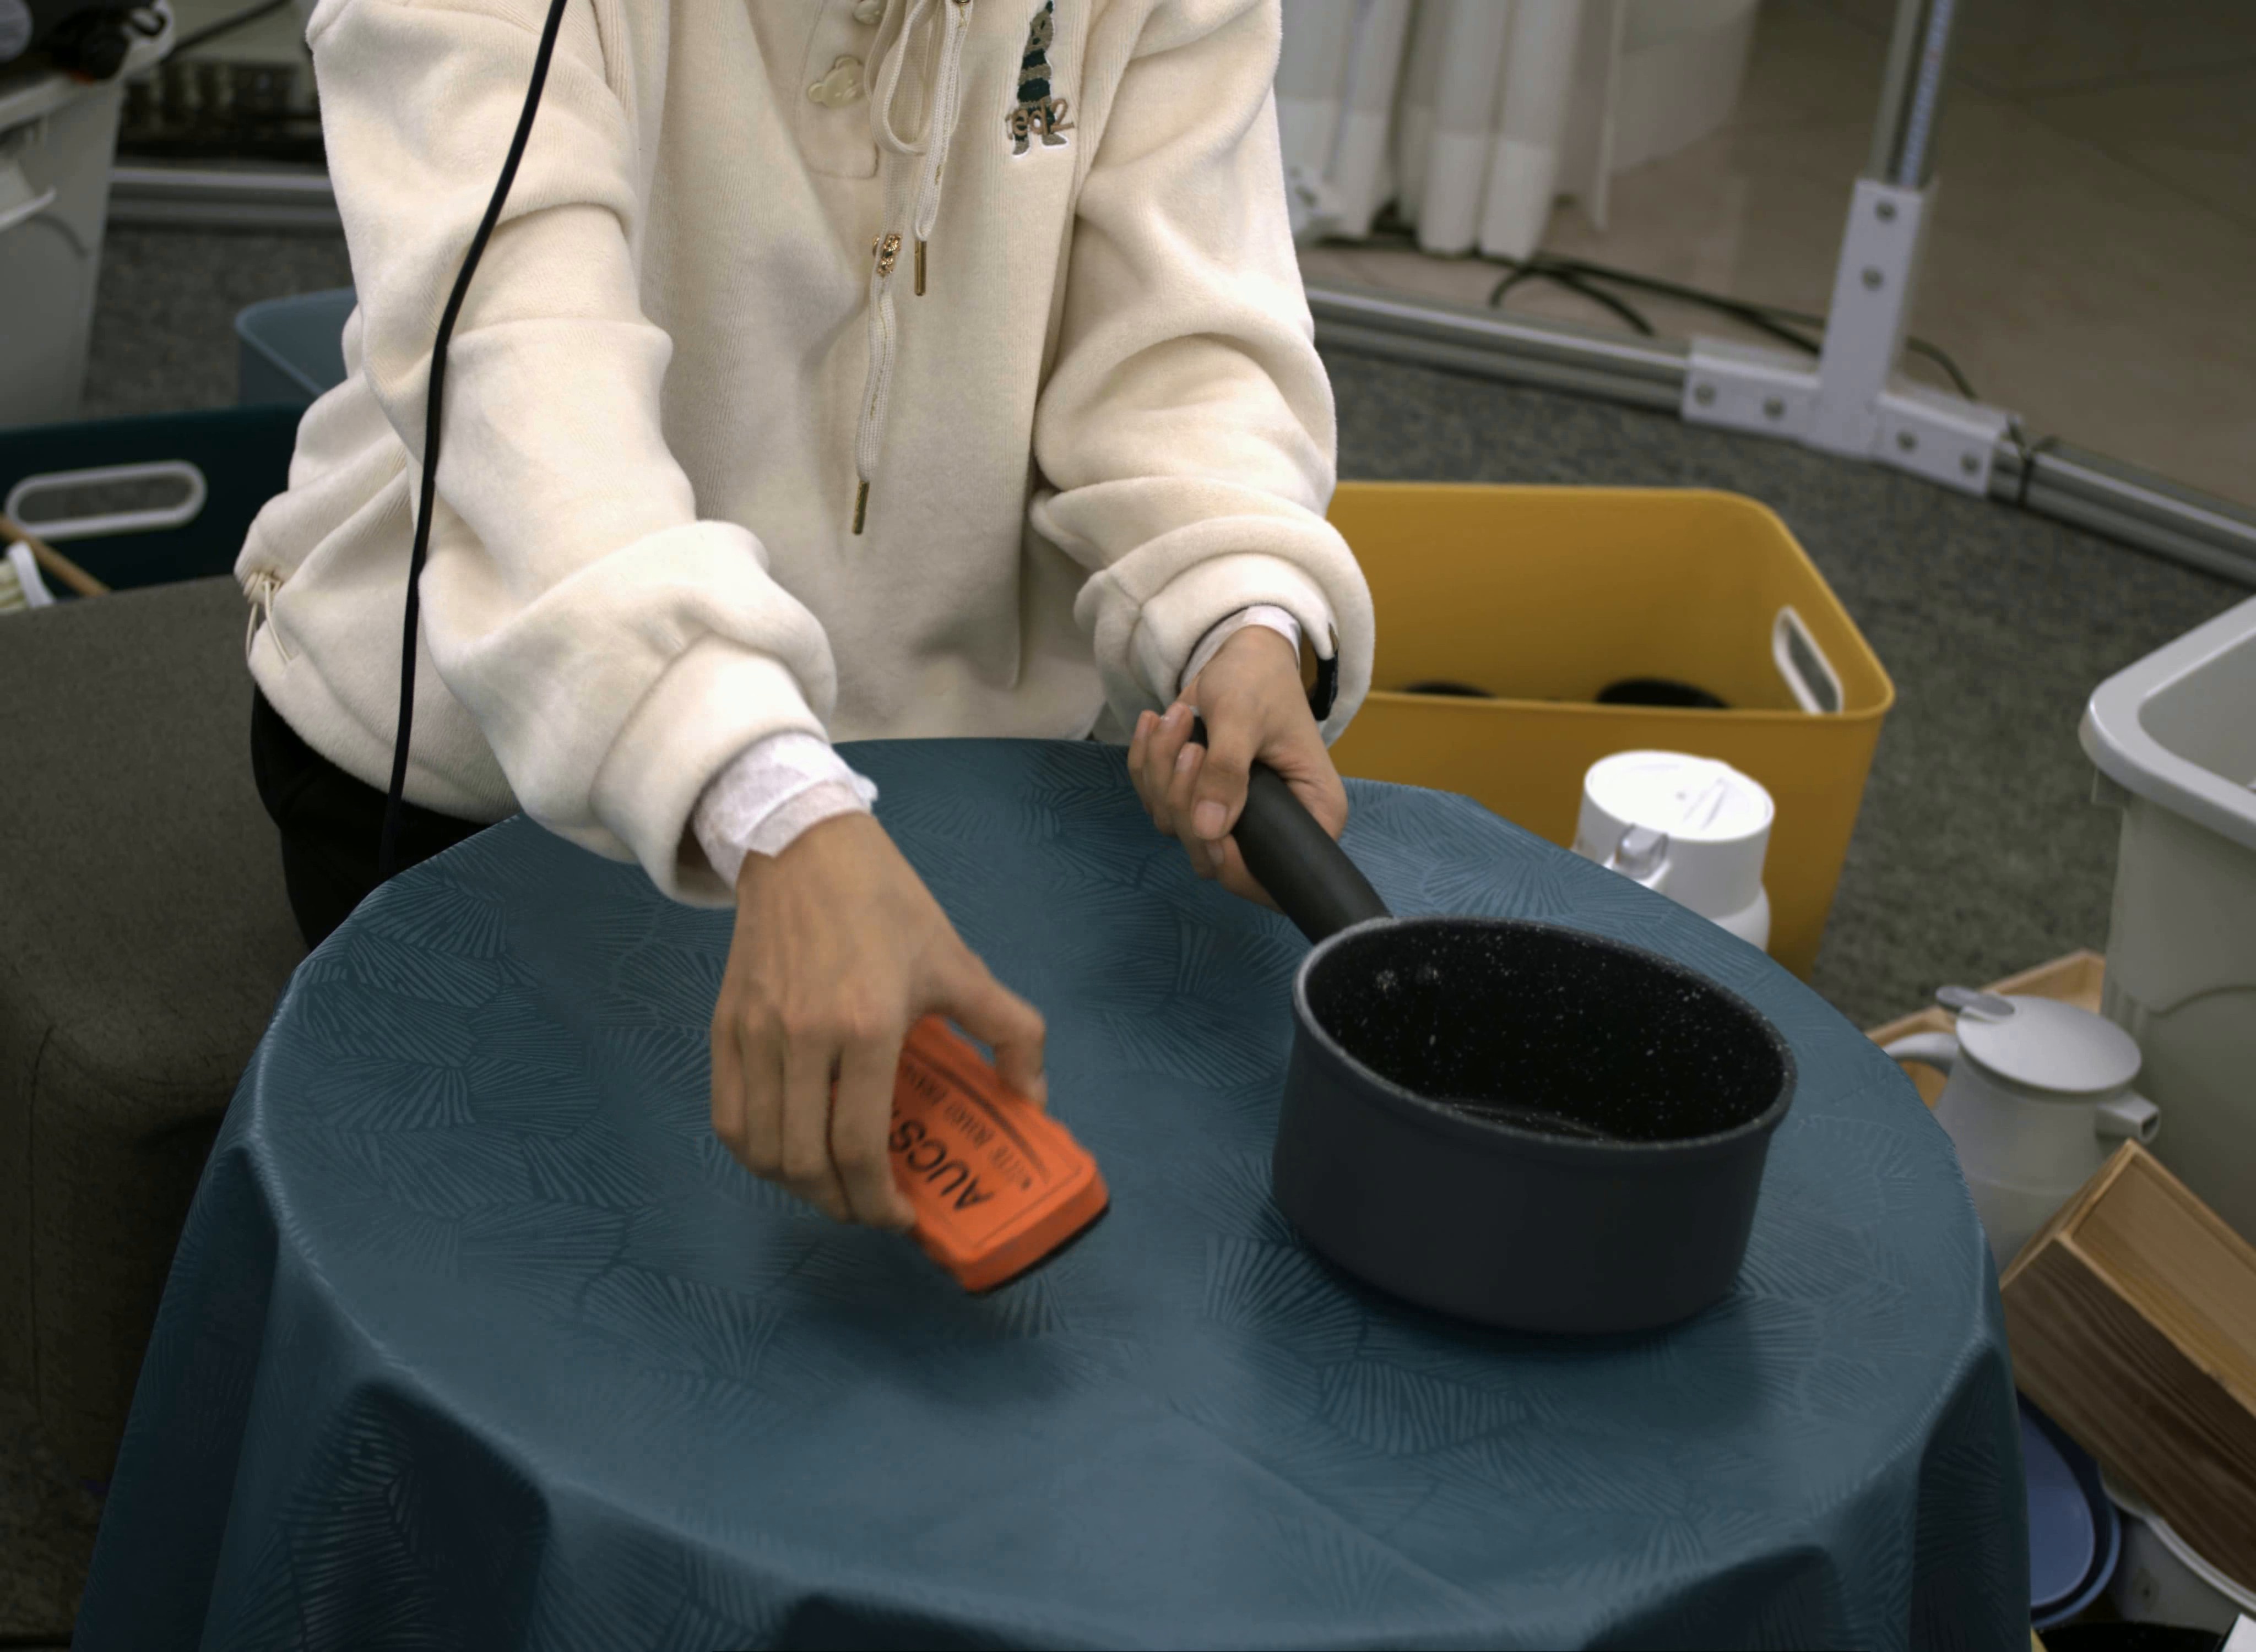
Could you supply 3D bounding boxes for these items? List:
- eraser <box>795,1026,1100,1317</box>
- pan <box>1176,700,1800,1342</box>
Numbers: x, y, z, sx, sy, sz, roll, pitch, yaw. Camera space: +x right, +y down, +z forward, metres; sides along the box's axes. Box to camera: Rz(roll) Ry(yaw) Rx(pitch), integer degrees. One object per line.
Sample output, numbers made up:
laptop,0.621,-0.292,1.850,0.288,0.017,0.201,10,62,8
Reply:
eraser,-0.059,0.111,1.728,0.059,0.022,0.109,-34,44,-15
pan,0.097,0.064,1.844,0.171,0.086,0.332,-4,28,-28
